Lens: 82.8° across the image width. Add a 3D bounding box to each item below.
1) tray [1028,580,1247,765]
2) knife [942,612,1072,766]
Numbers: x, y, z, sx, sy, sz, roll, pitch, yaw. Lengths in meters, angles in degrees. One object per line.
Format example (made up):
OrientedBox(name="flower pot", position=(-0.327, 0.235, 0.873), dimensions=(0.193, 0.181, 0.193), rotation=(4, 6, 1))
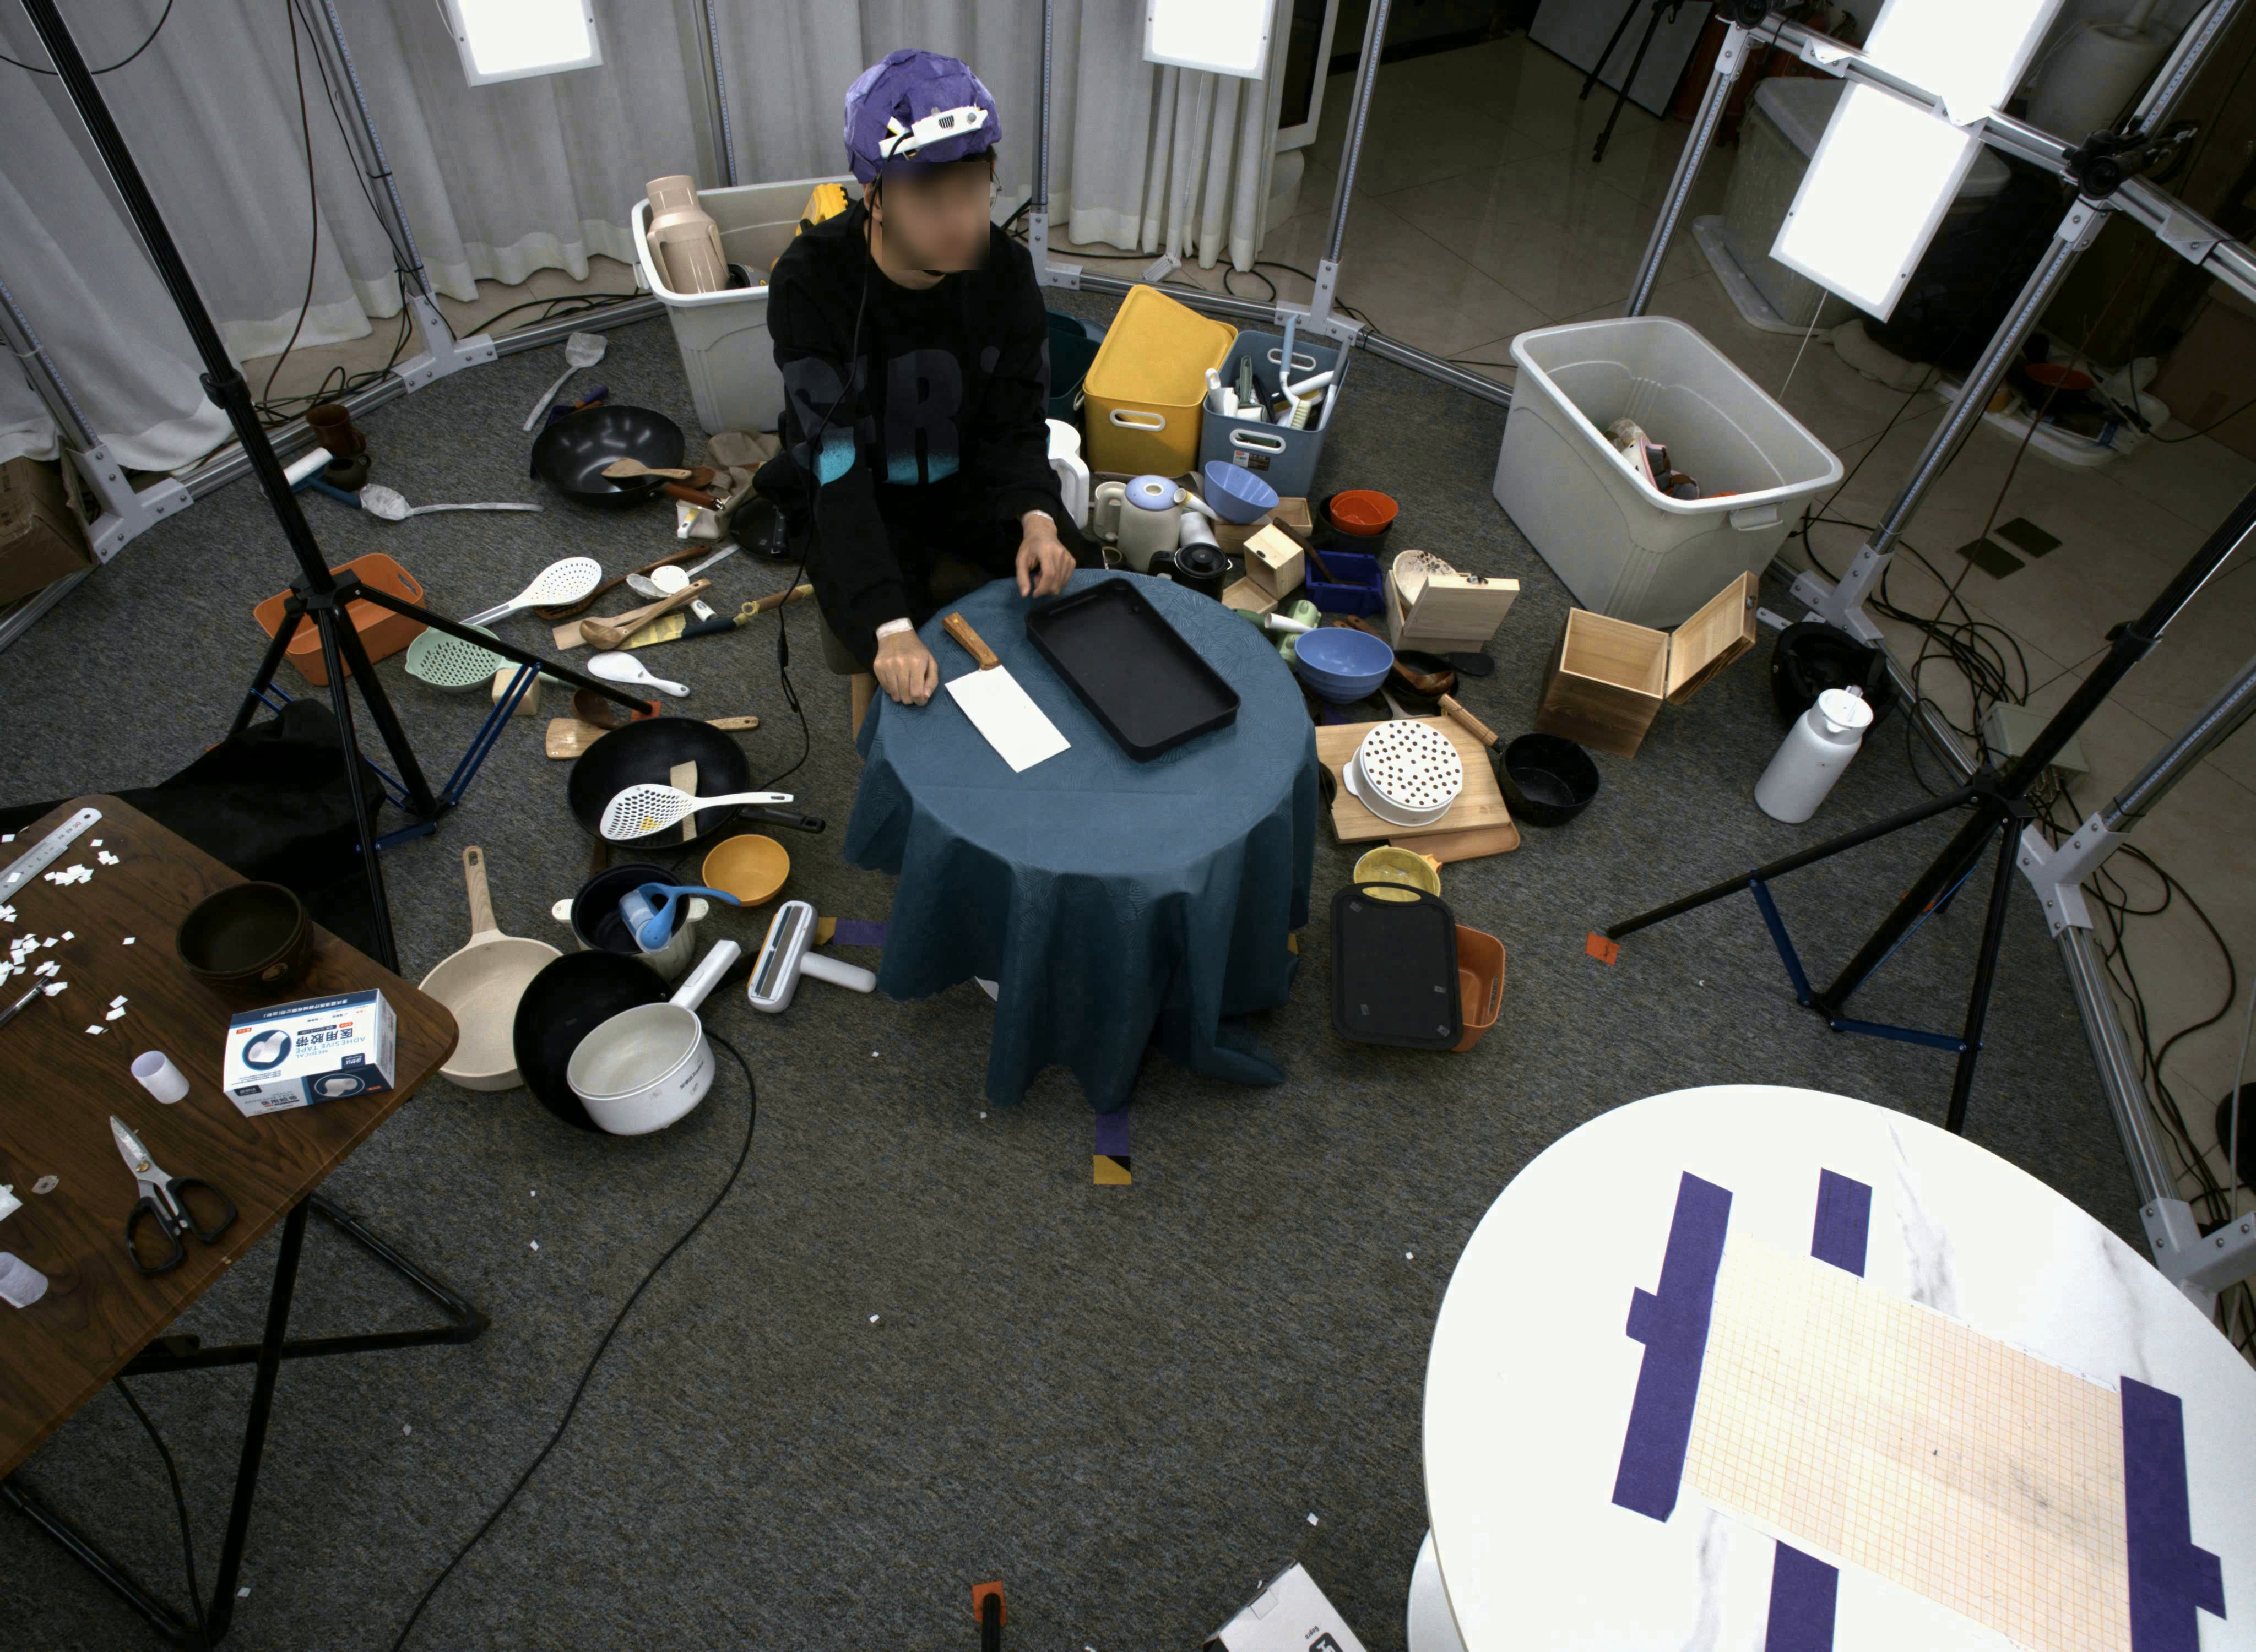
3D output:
OrientedBox(name="tray", position=(0.010, -0.226, 1.842), dimensions=(0.185, 0.036, 0.324), rotation=(-26, 55, -23))
OrientedBox(name="knife", position=(-0.195, -0.194, 1.814), dimensions=(0.093, 0.020, 0.311), rotation=(-27, 58, -22))
